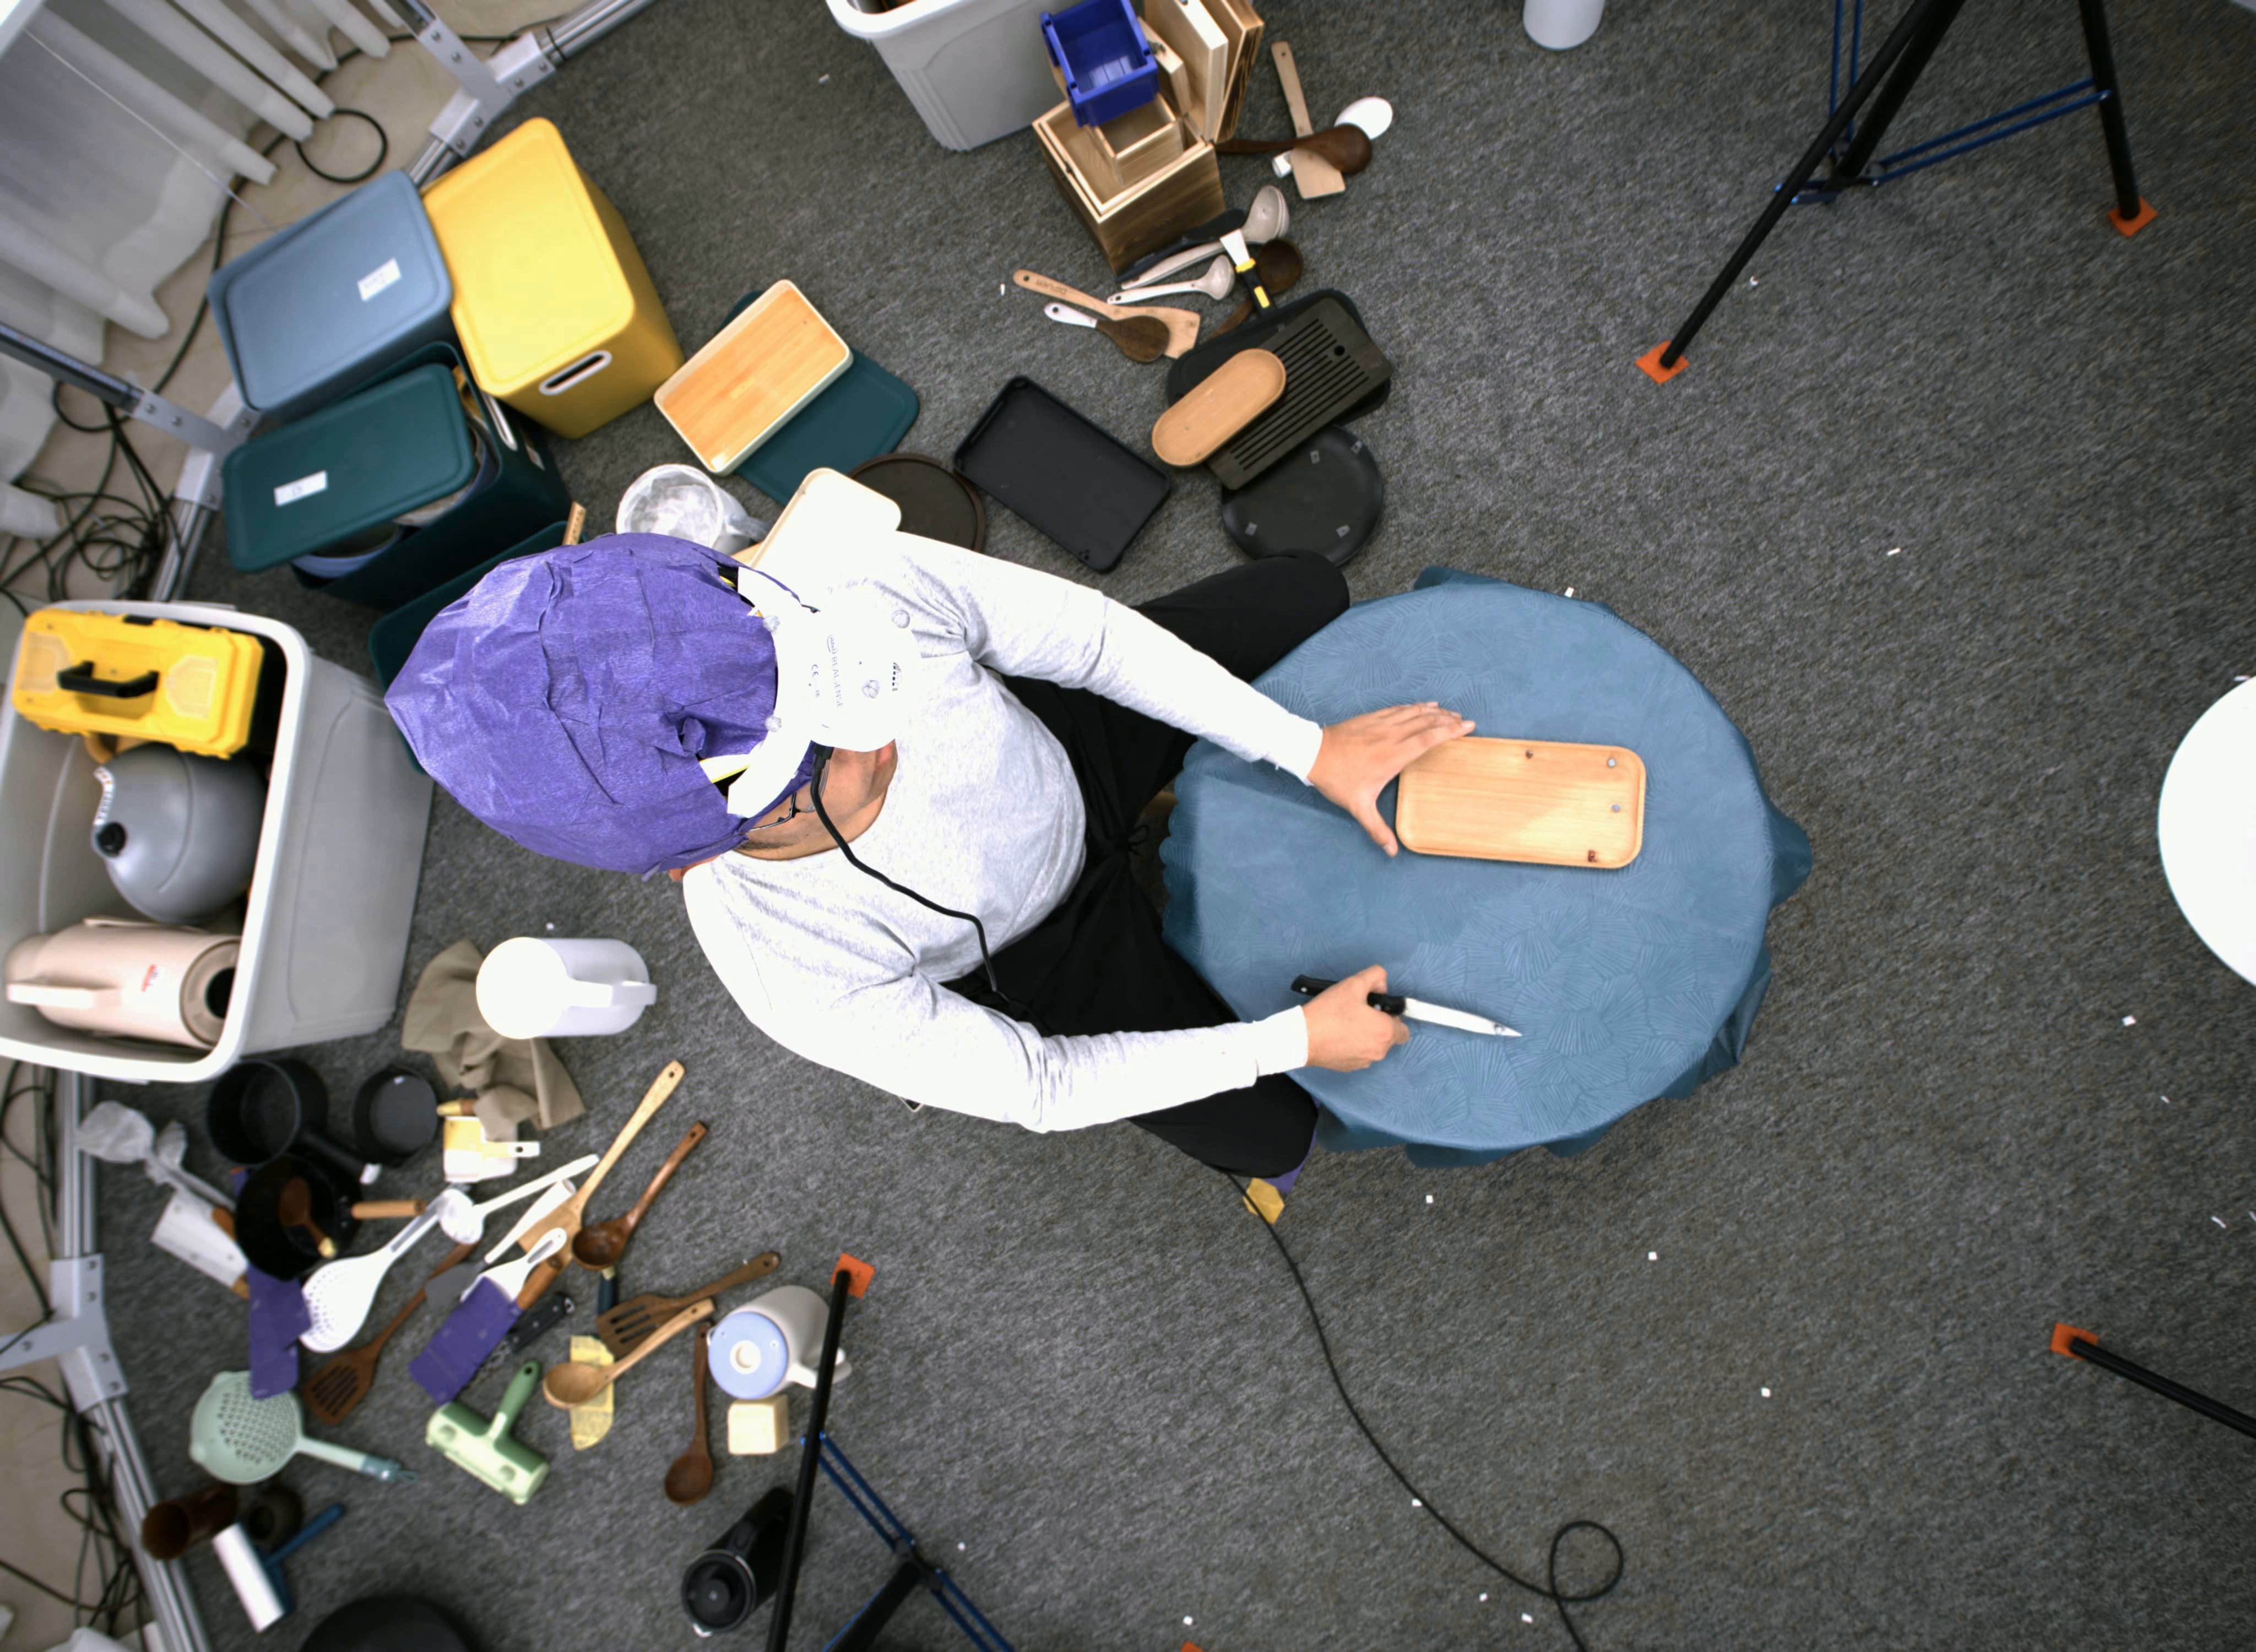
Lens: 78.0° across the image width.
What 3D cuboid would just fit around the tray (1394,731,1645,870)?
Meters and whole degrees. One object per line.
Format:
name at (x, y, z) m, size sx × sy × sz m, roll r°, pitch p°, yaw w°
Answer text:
tray at (0.406, -0.029, 1.432) m, size 0.251 × 0.023 × 0.130 m, roll 5°, pitch 85°, yaw 12°

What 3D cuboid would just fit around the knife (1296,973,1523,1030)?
knife at (0.288, 0.184, 1.424) m, size 0.238 × 0.016 × 0.025 m, roll 12°, pitch 126°, yaw 6°
